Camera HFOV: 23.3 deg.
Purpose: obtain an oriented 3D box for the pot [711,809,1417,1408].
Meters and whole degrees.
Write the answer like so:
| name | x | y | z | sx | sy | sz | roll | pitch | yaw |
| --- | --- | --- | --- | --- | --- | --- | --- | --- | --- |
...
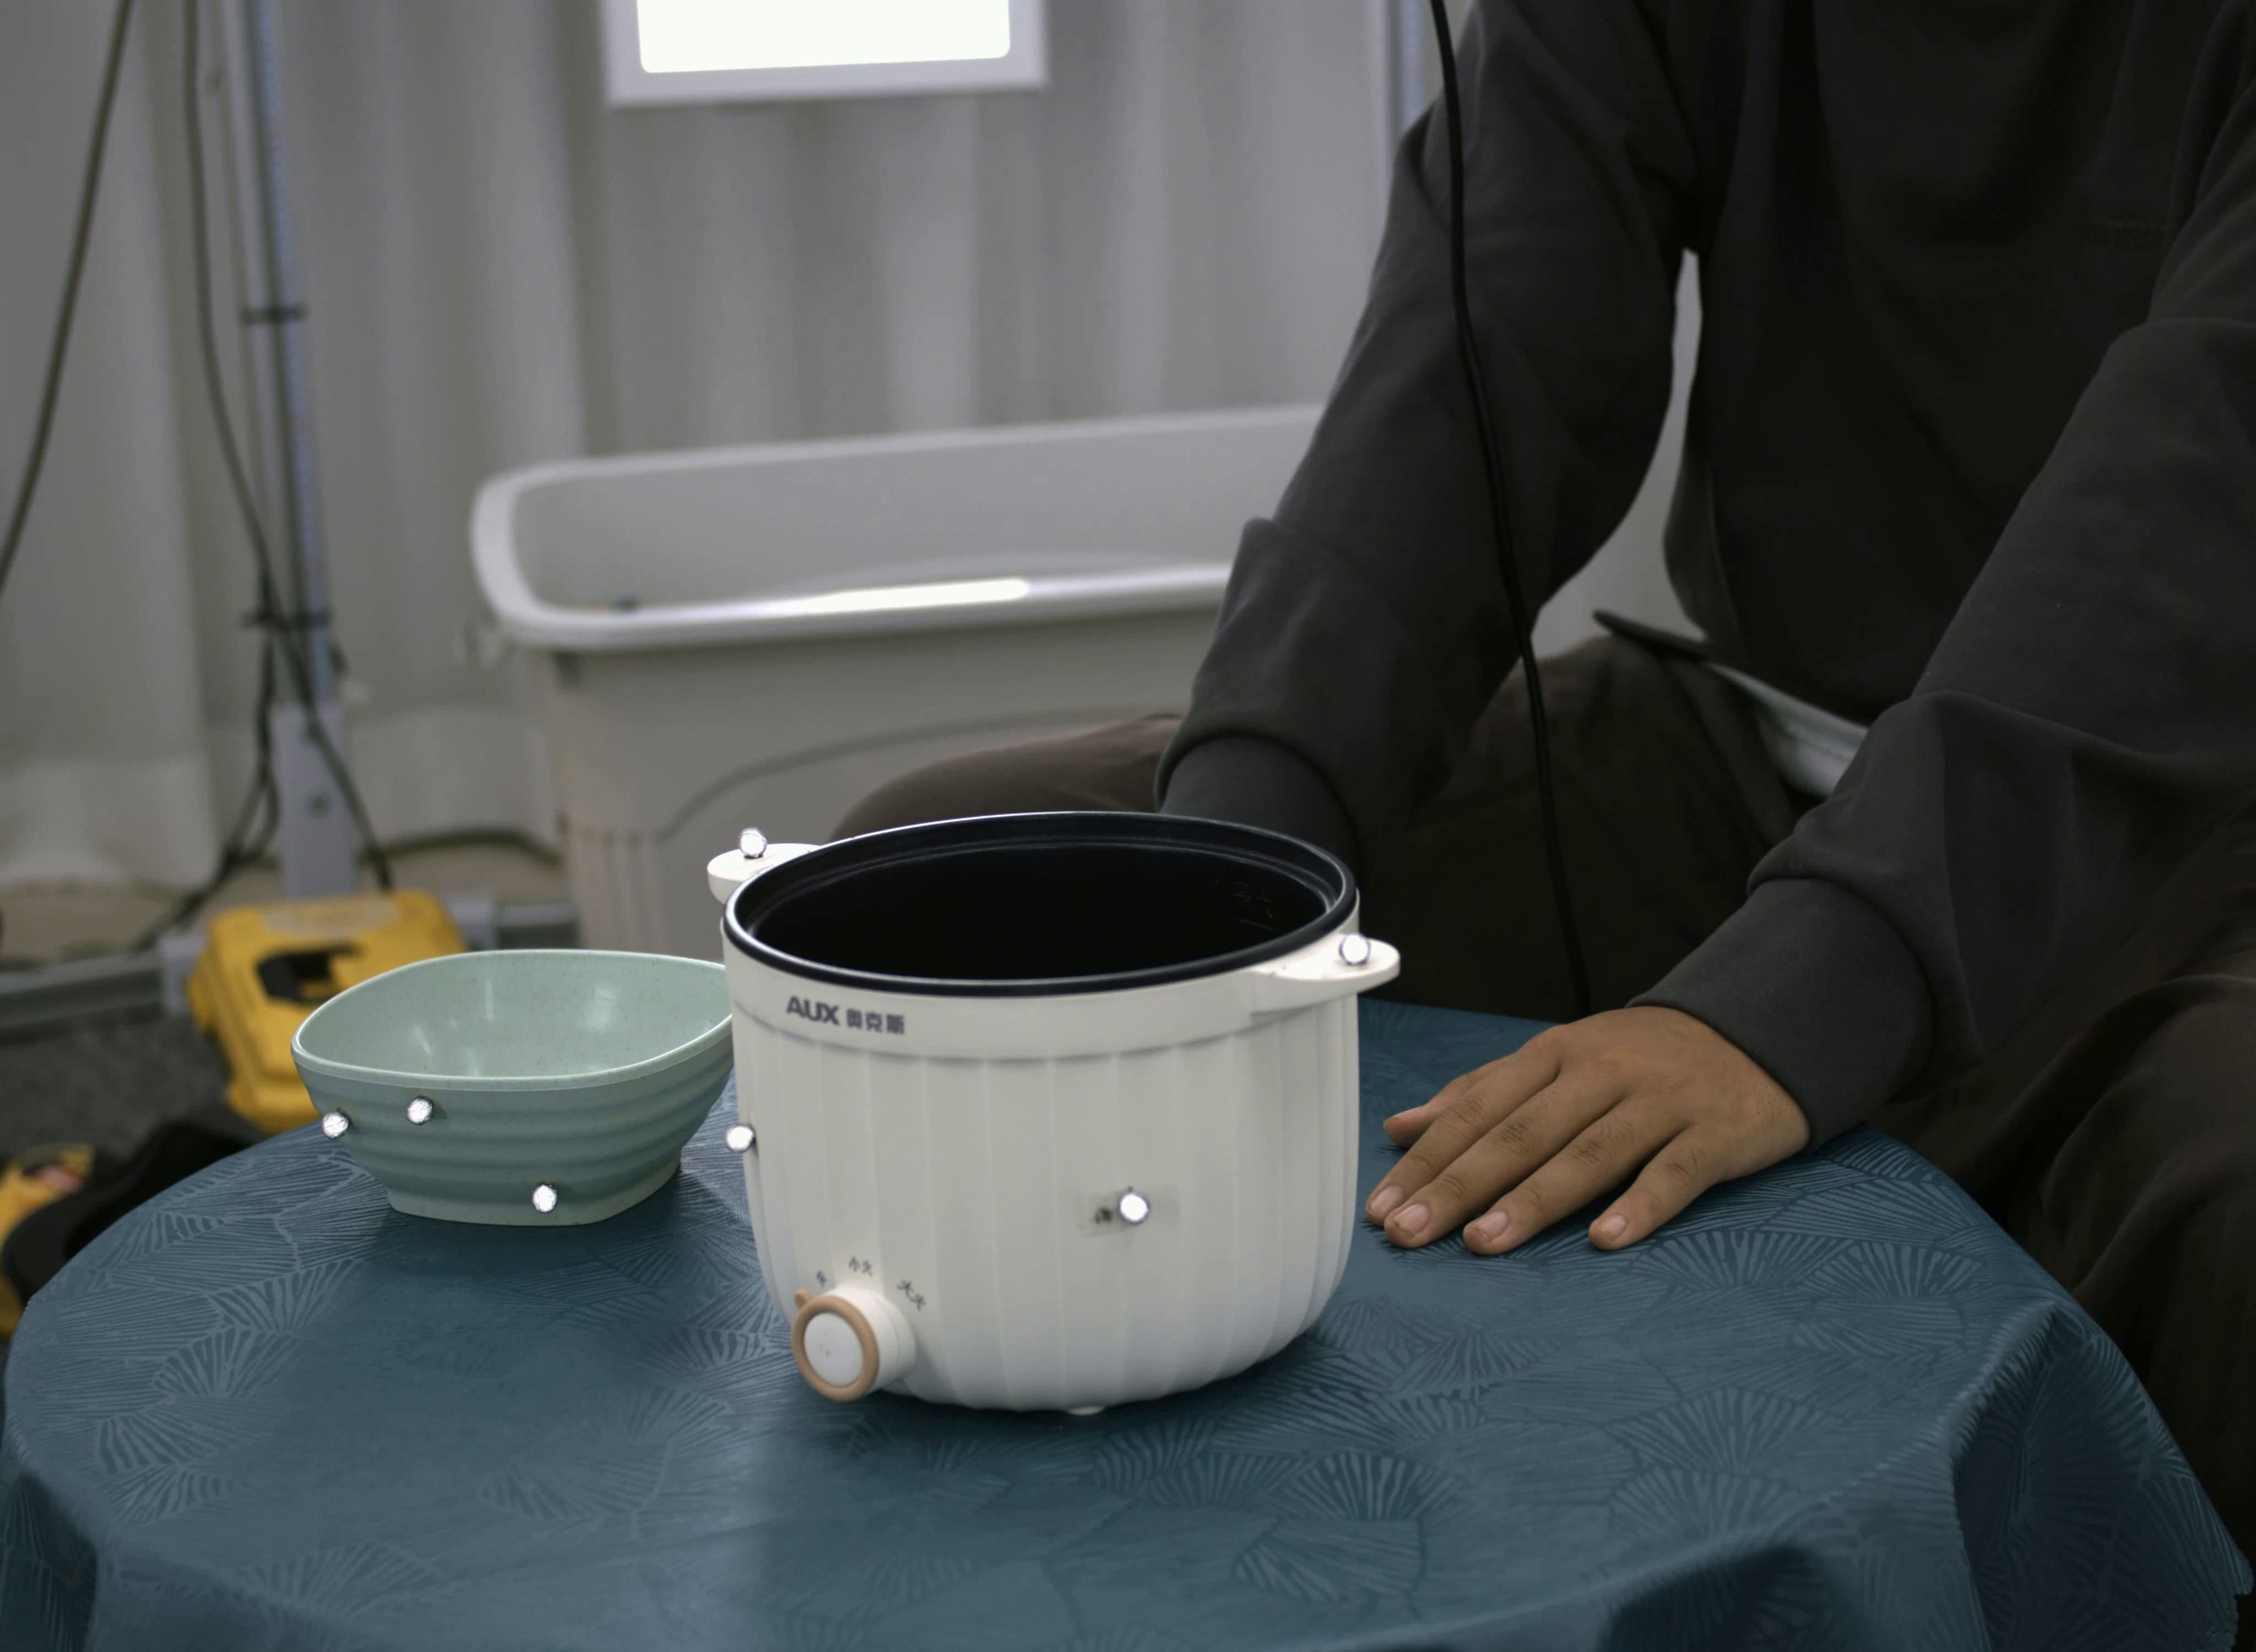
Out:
| name | x | y | z | sx | sy | sz | roll | pitch | yaw |
| --- | --- | --- | --- | --- | --- | --- | --- | --- | --- |
| pot | -0.022 | 0.083 | 1.567 | 0.241 | 0.142 | 0.190 | 6 | 13 | 36 |

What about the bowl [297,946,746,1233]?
| name | x | y | z | sx | sy | sz | roll | pitch | yaw |
| --- | --- | --- | --- | --- | --- | --- | --- | --- | --- |
| bowl | -0.188 | 0.087 | 1.745 | 0.151 | 0.058 | 0.152 | -3 | 16 | 1 |
